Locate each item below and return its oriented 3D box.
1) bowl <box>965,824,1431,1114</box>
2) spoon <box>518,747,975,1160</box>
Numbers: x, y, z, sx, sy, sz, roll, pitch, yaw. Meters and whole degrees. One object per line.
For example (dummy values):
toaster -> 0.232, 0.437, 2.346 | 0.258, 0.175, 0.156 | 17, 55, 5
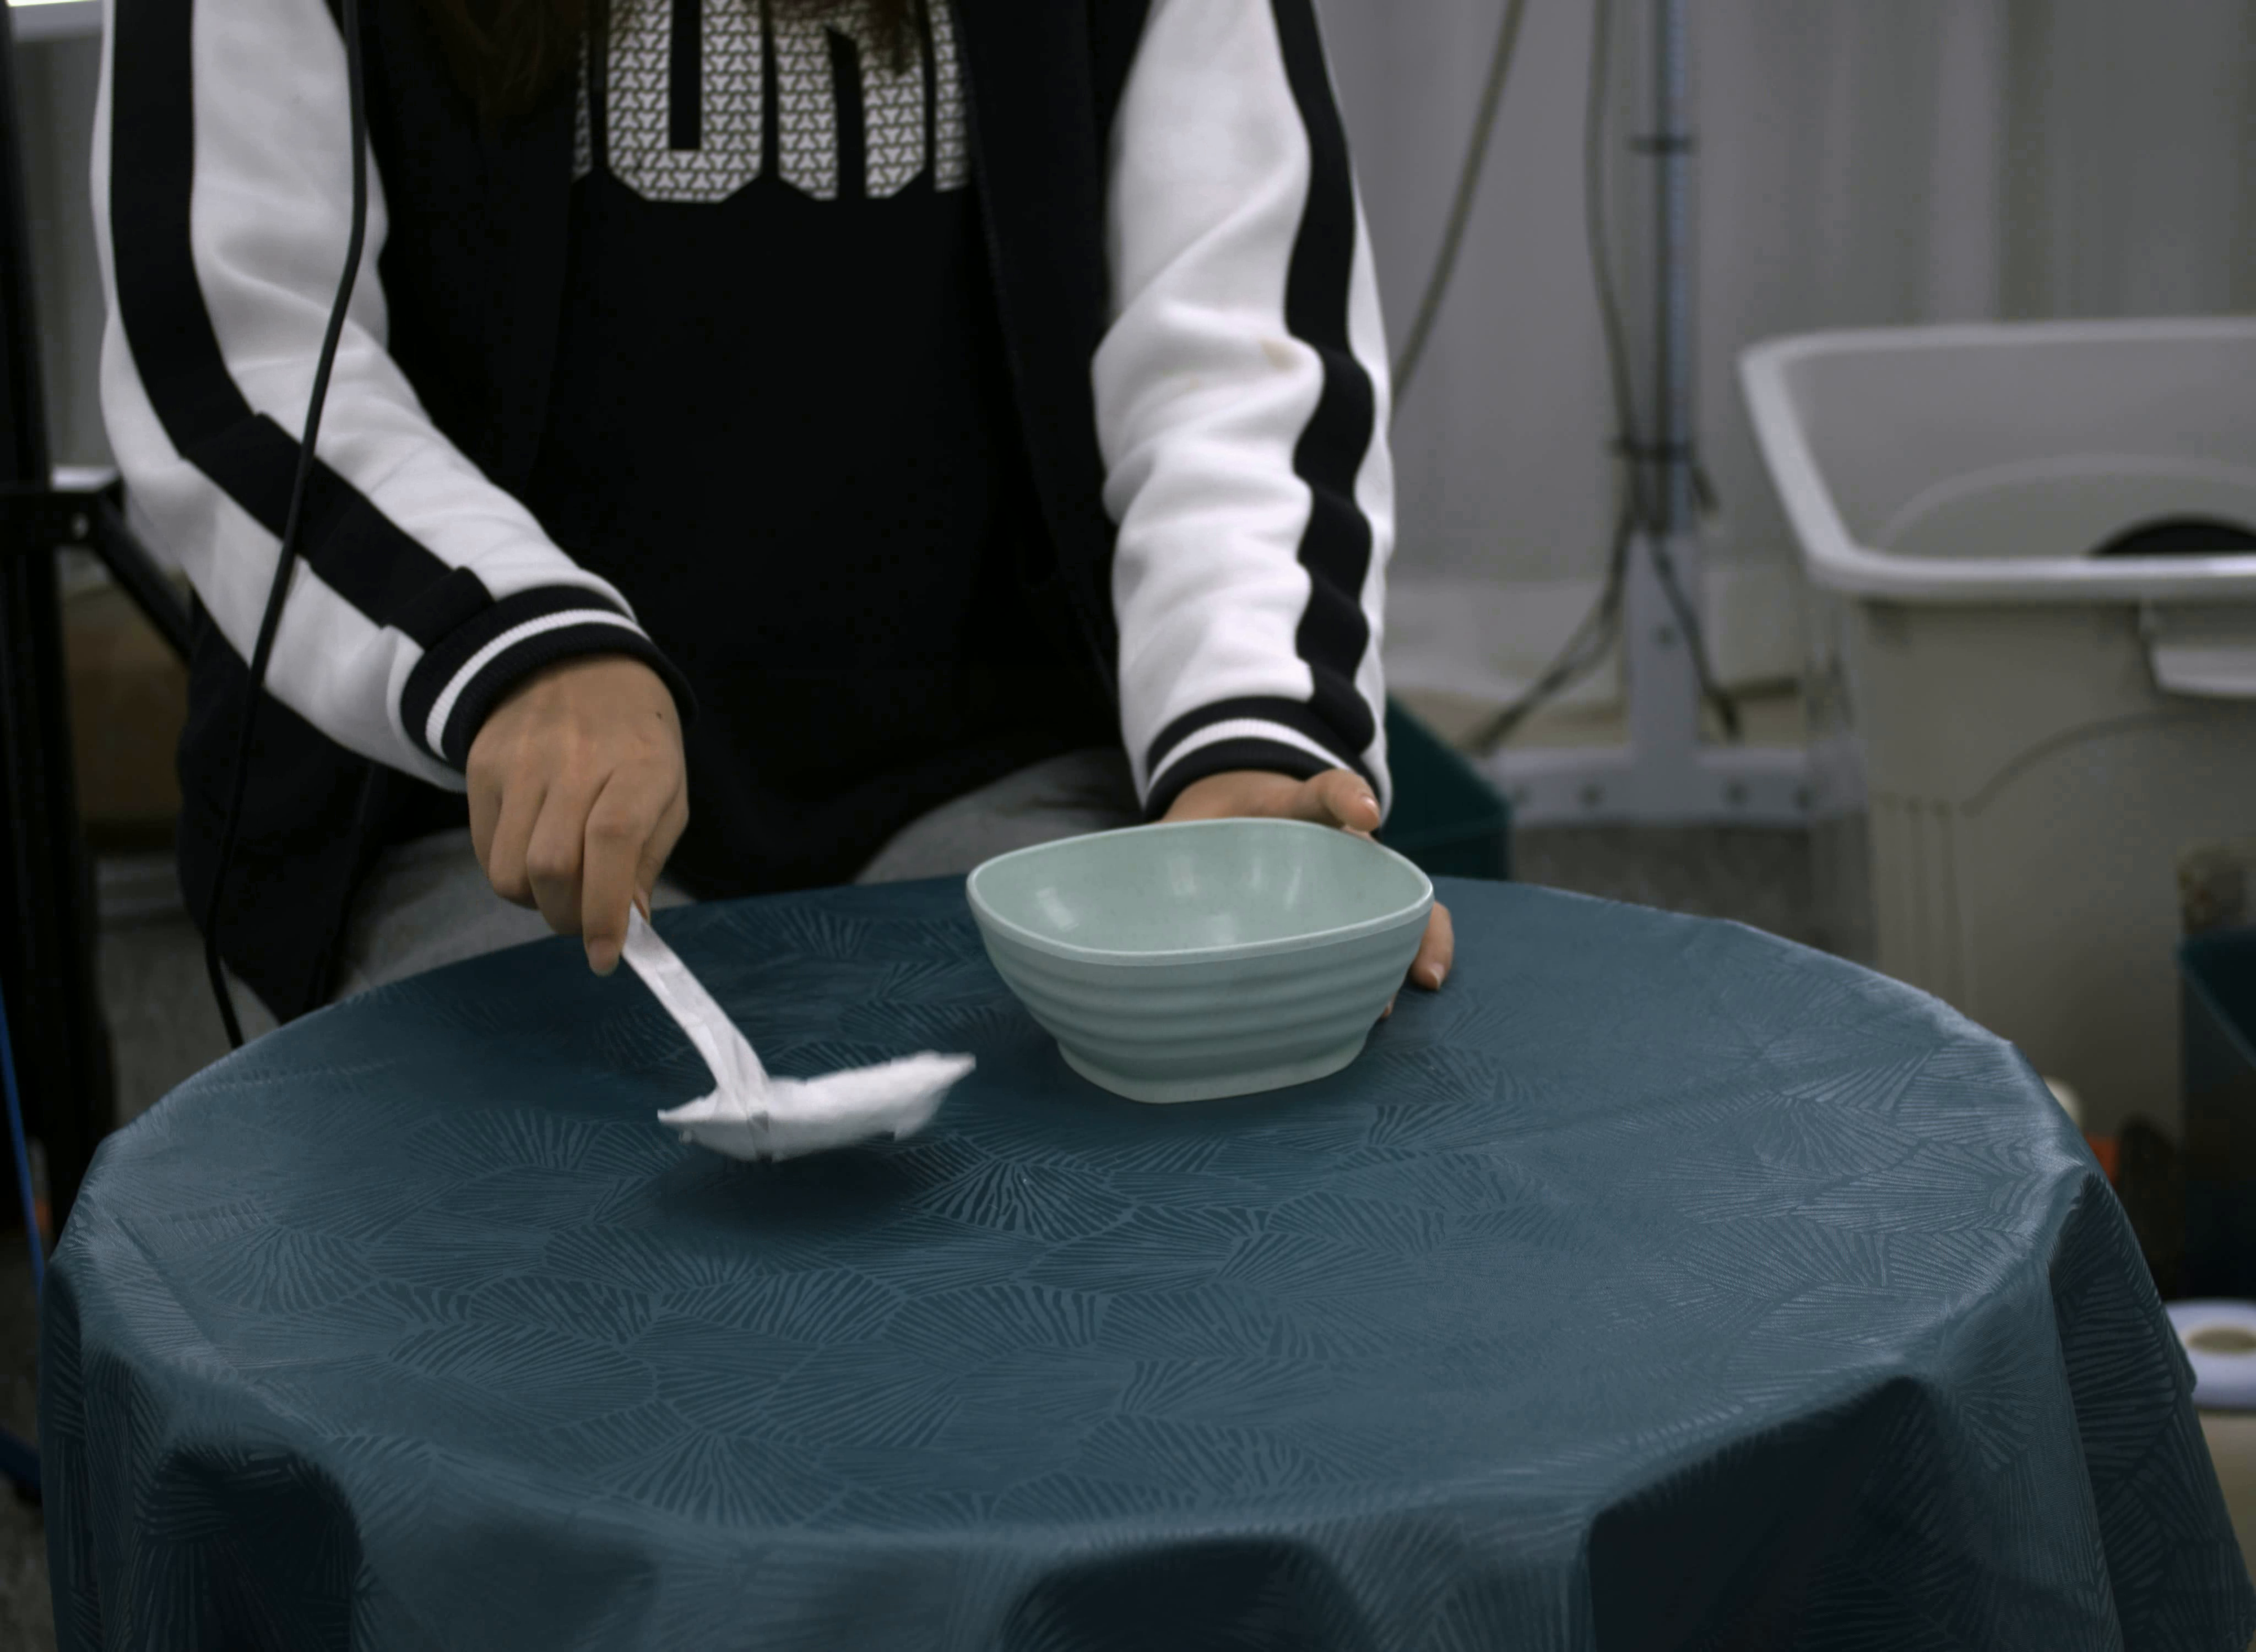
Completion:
bowl -> 0.022, 0.048, 1.672 | 0.150, 0.058, 0.152 | -3, 16, -1
spoon -> -0.129, 0.028, 1.644 | 0.098, 0.059, 0.283 | -3, 33, -26
